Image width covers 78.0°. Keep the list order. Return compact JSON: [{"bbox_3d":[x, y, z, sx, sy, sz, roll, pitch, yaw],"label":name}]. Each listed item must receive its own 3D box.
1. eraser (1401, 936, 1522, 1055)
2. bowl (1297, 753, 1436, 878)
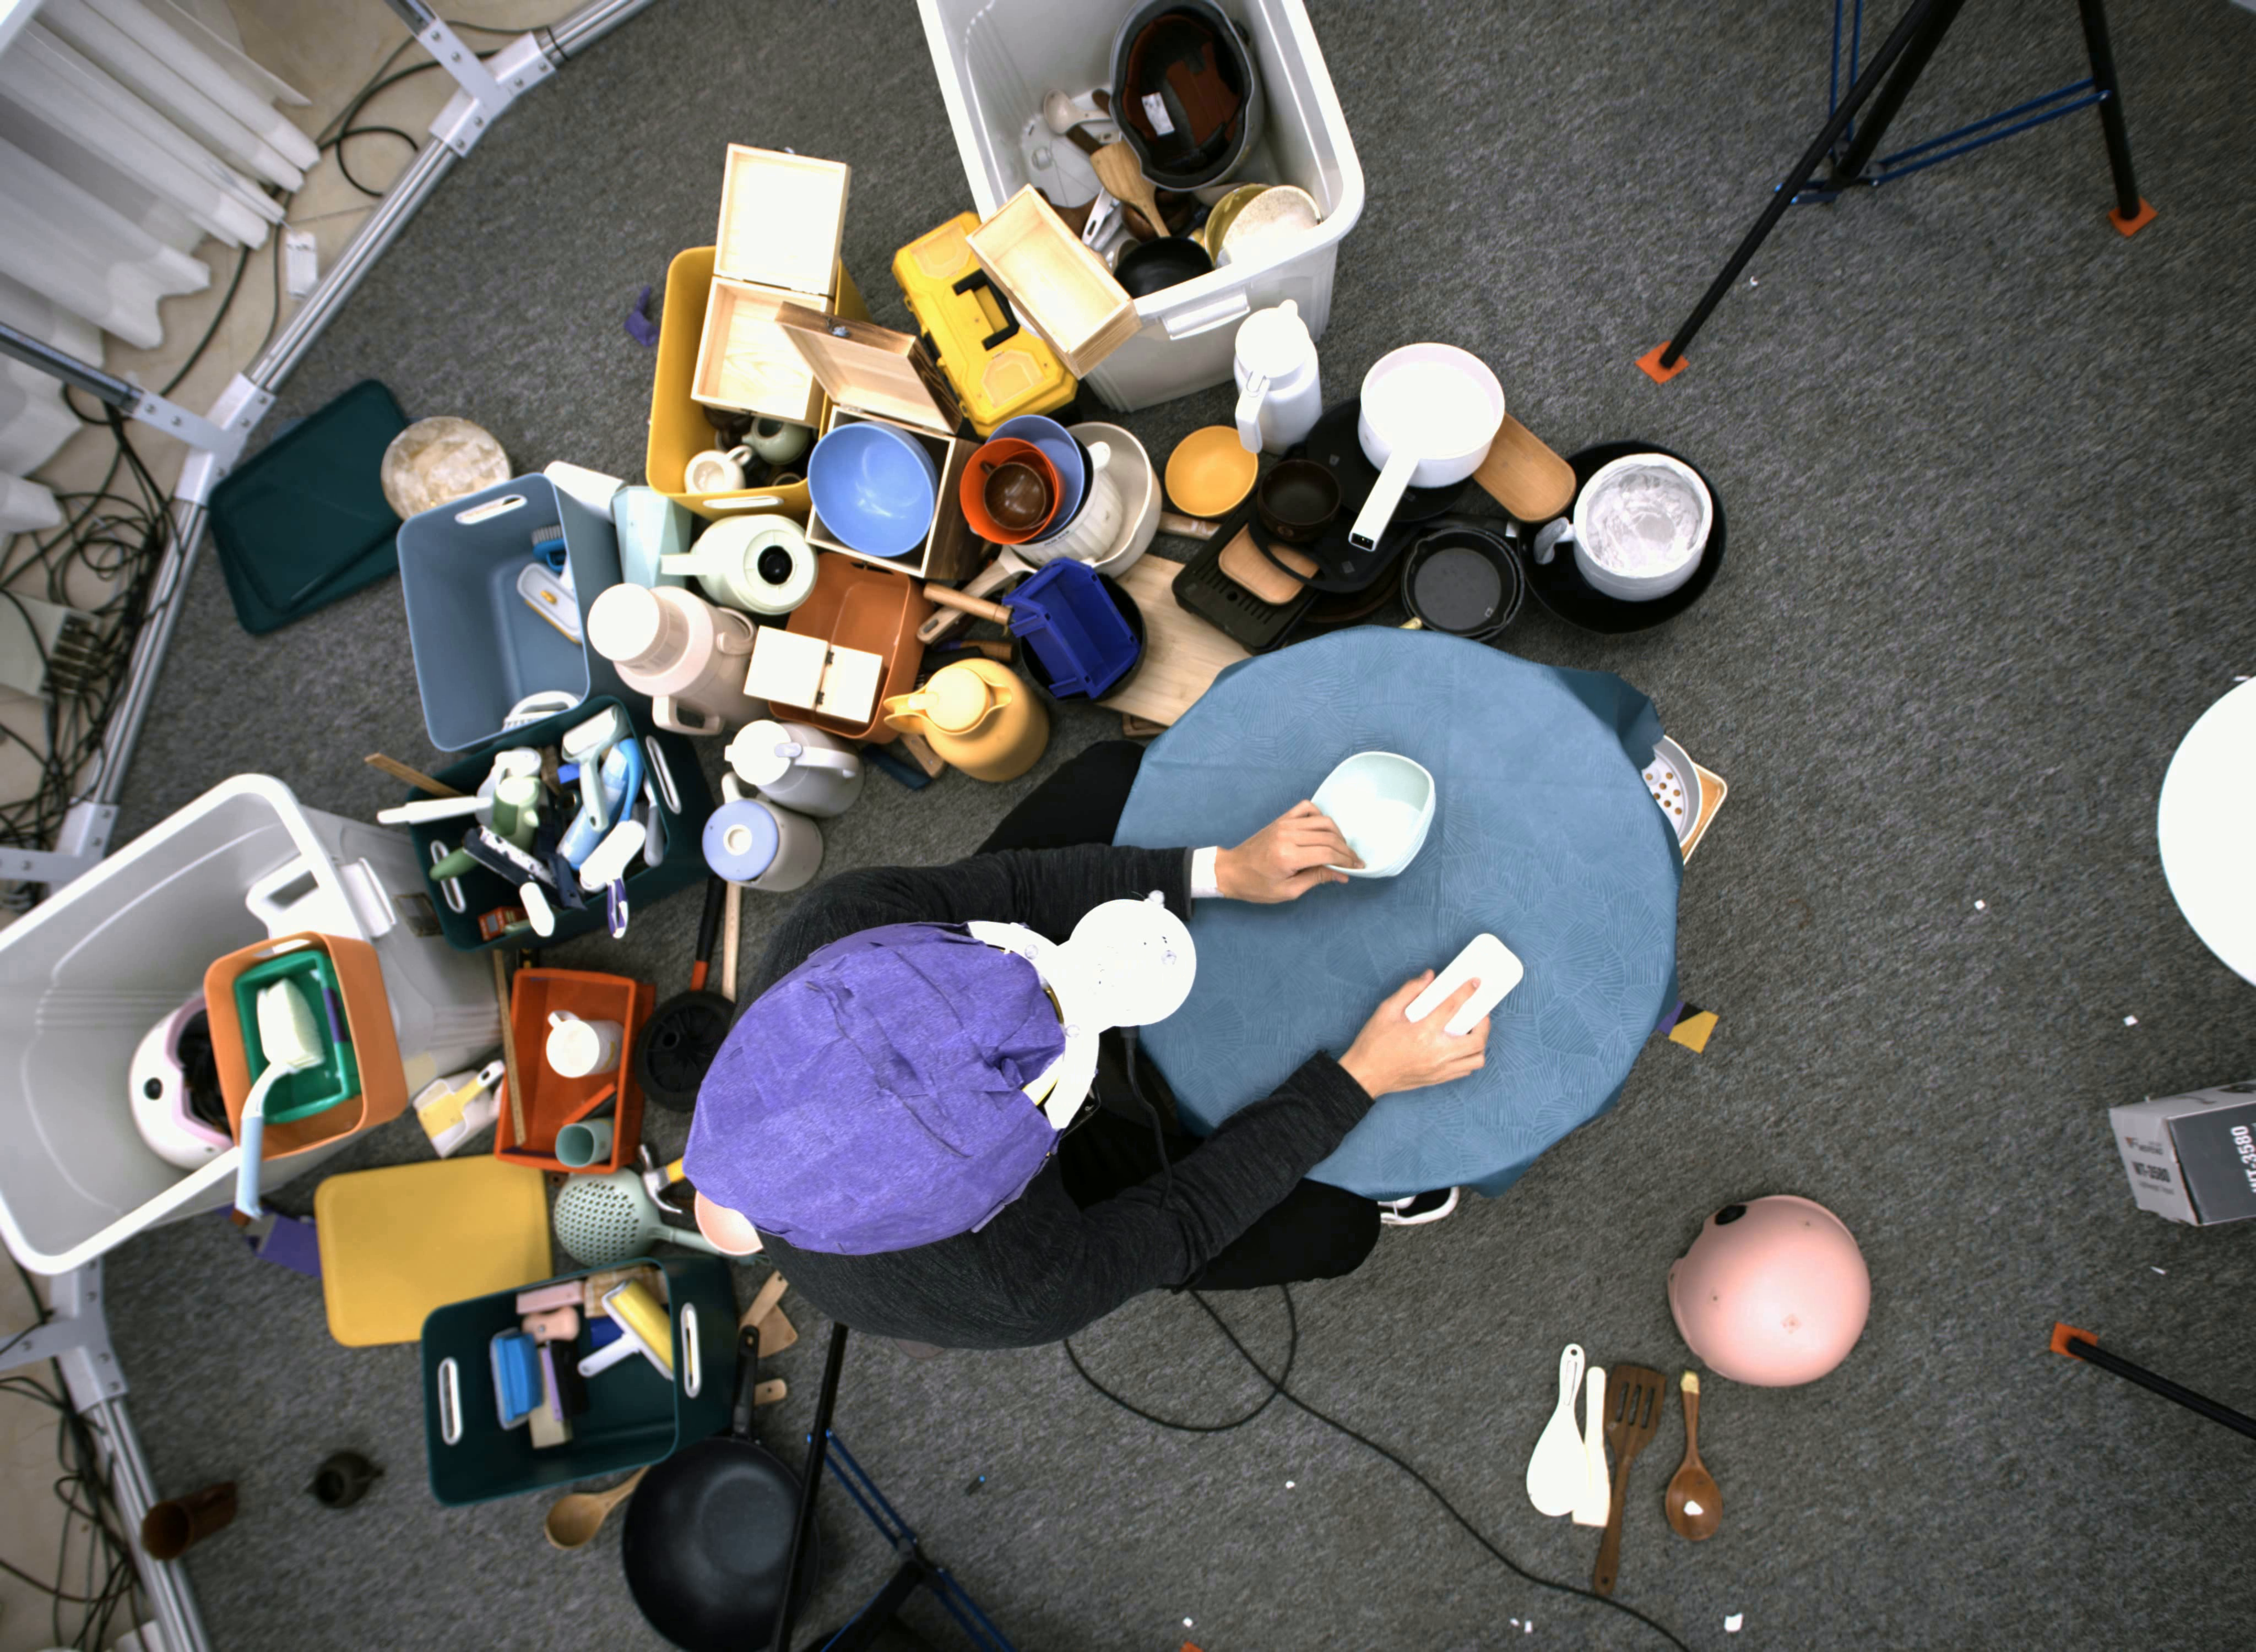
[{"bbox_3d":[0.341,0.172,1.420,0.131,0.034,0.063,-43,85,1],"label":"eraser"},{"bbox_3d":[0.254,-0.002,1.416,0.153,0.059,0.147,-22,47,26],"label":"bowl"}]
